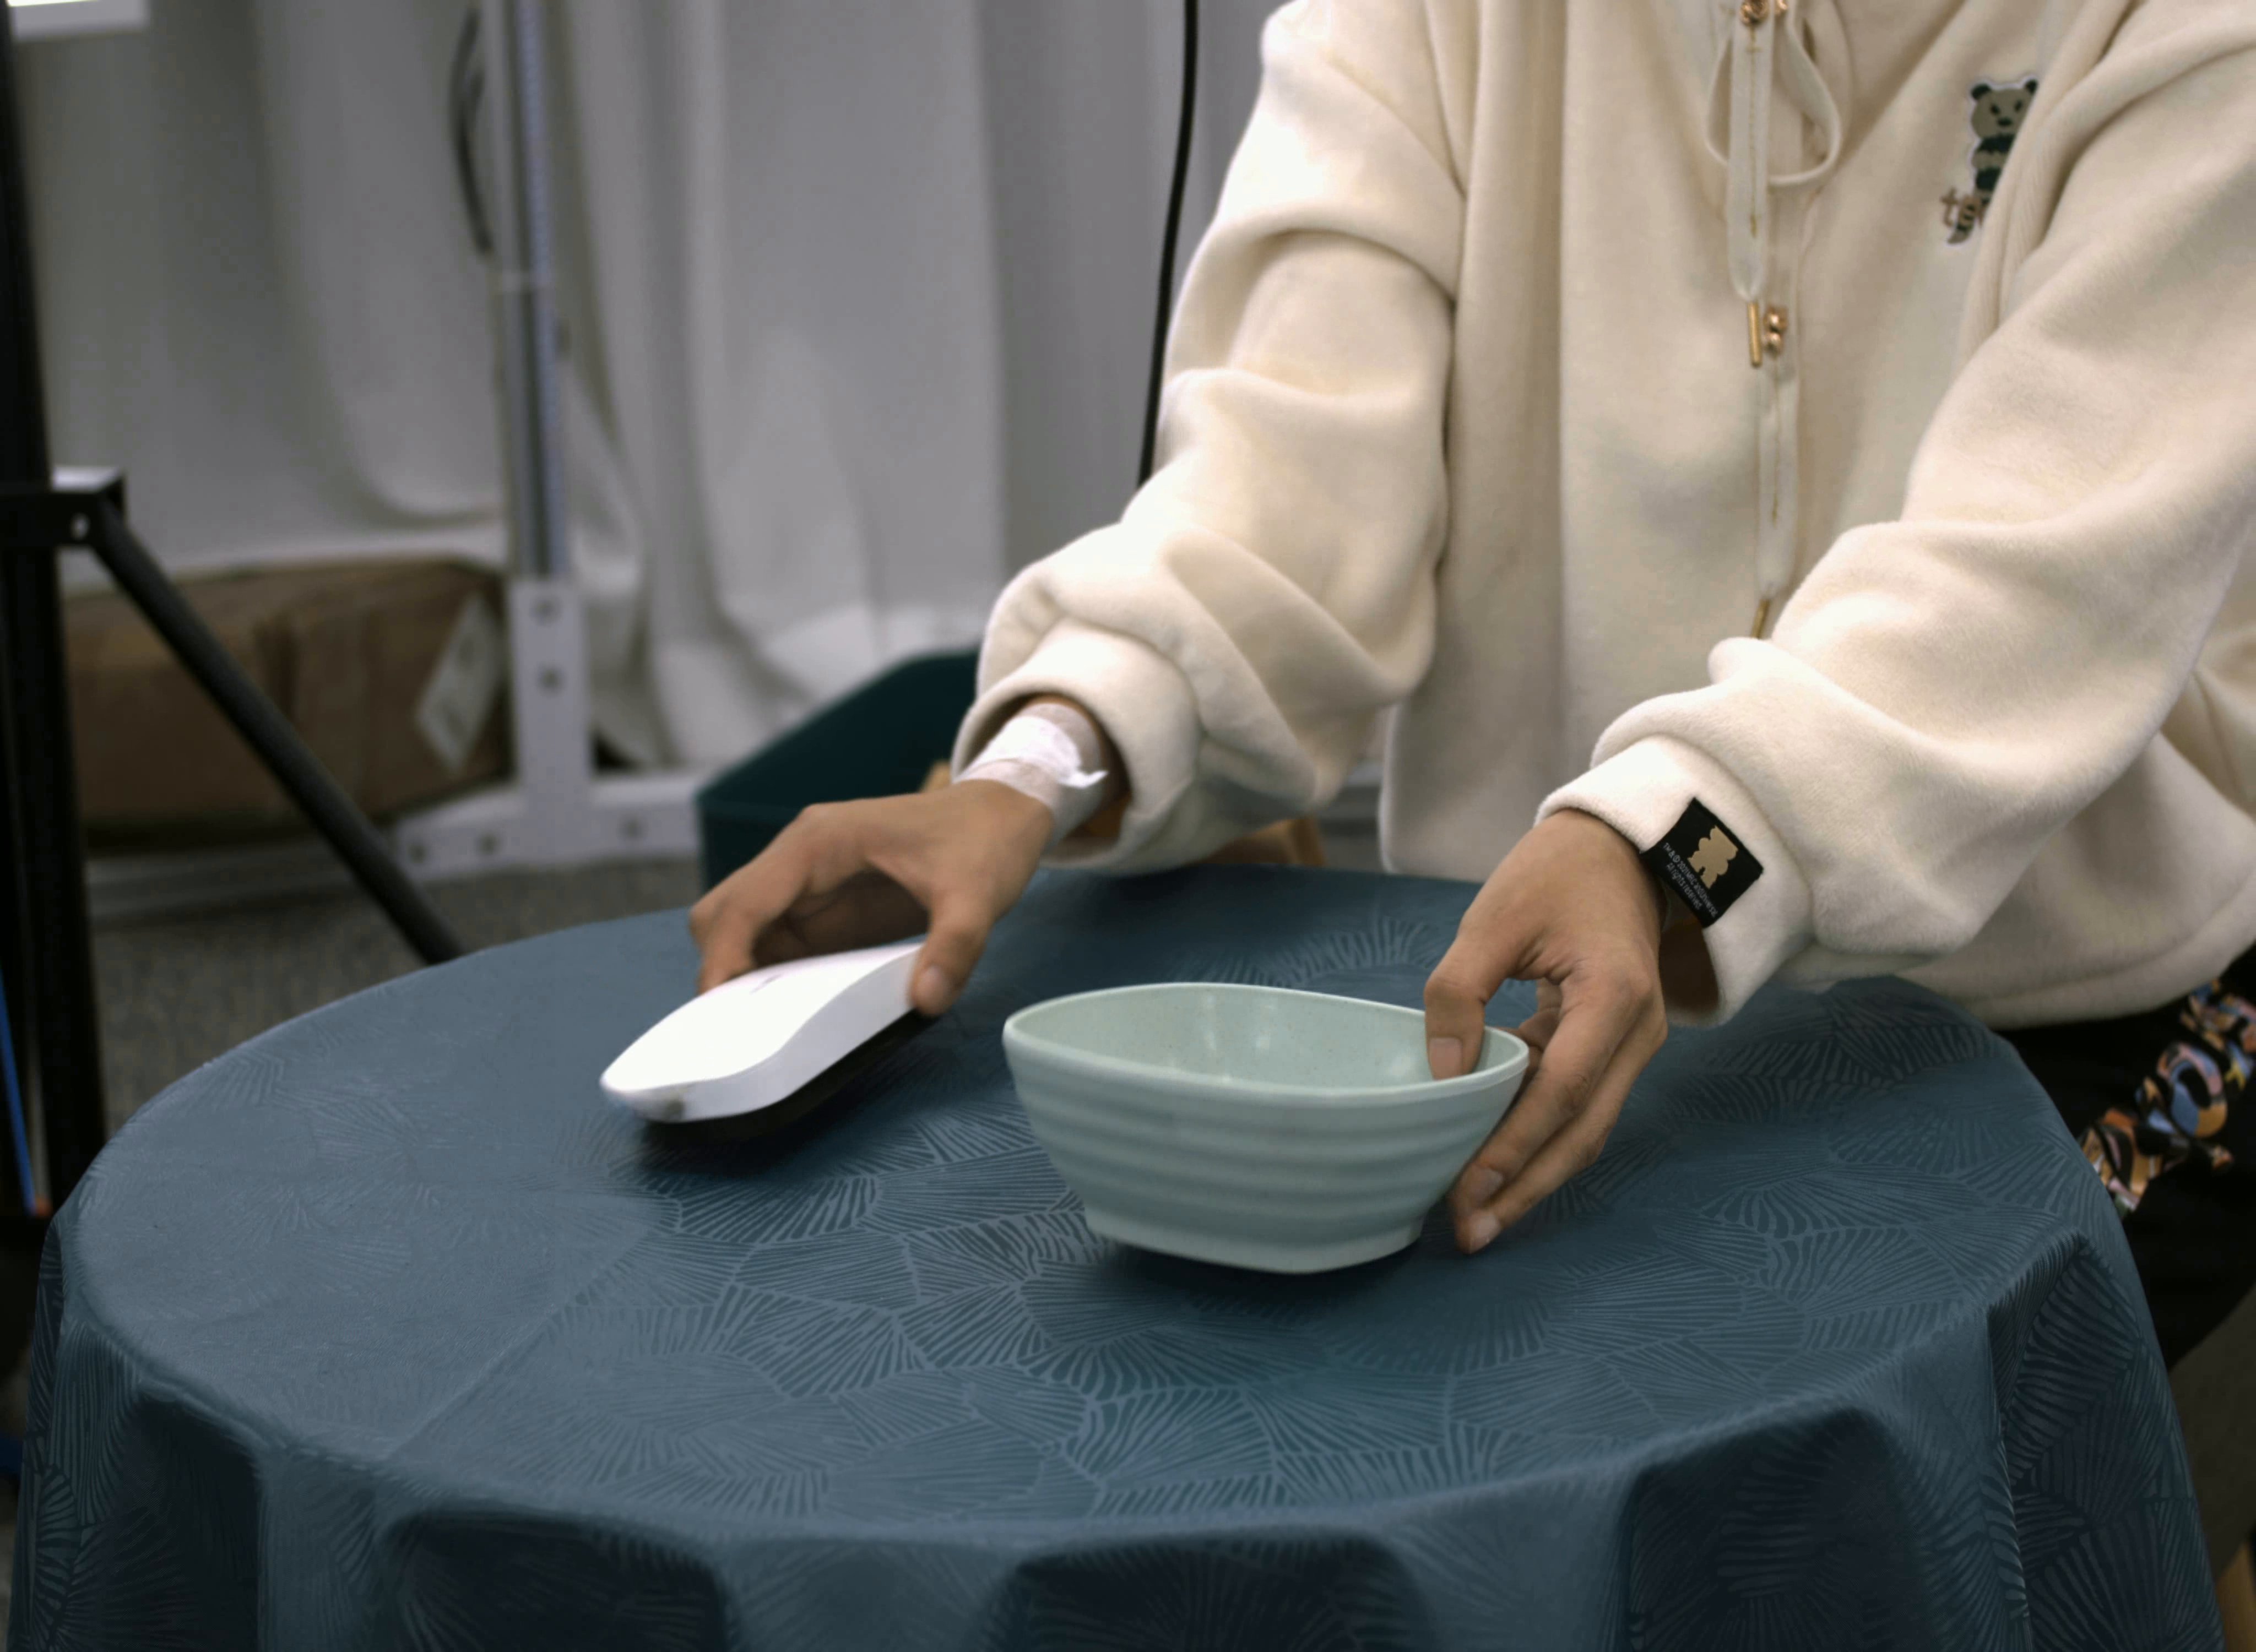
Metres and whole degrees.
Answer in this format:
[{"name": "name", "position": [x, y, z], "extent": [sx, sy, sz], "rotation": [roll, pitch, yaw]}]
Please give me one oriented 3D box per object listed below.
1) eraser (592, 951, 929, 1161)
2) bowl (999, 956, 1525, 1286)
[{"name": "eraser", "position": [-0.110, 0.066, 1.637], "extent": [0.064, 0.034, 0.129], "rotation": [-7, 14, 29]}, {"name": "bowl", "position": [0.036, 0.086, 1.499], "extent": [0.150, 0.059, 0.152], "rotation": [4, 14, -2]}]
